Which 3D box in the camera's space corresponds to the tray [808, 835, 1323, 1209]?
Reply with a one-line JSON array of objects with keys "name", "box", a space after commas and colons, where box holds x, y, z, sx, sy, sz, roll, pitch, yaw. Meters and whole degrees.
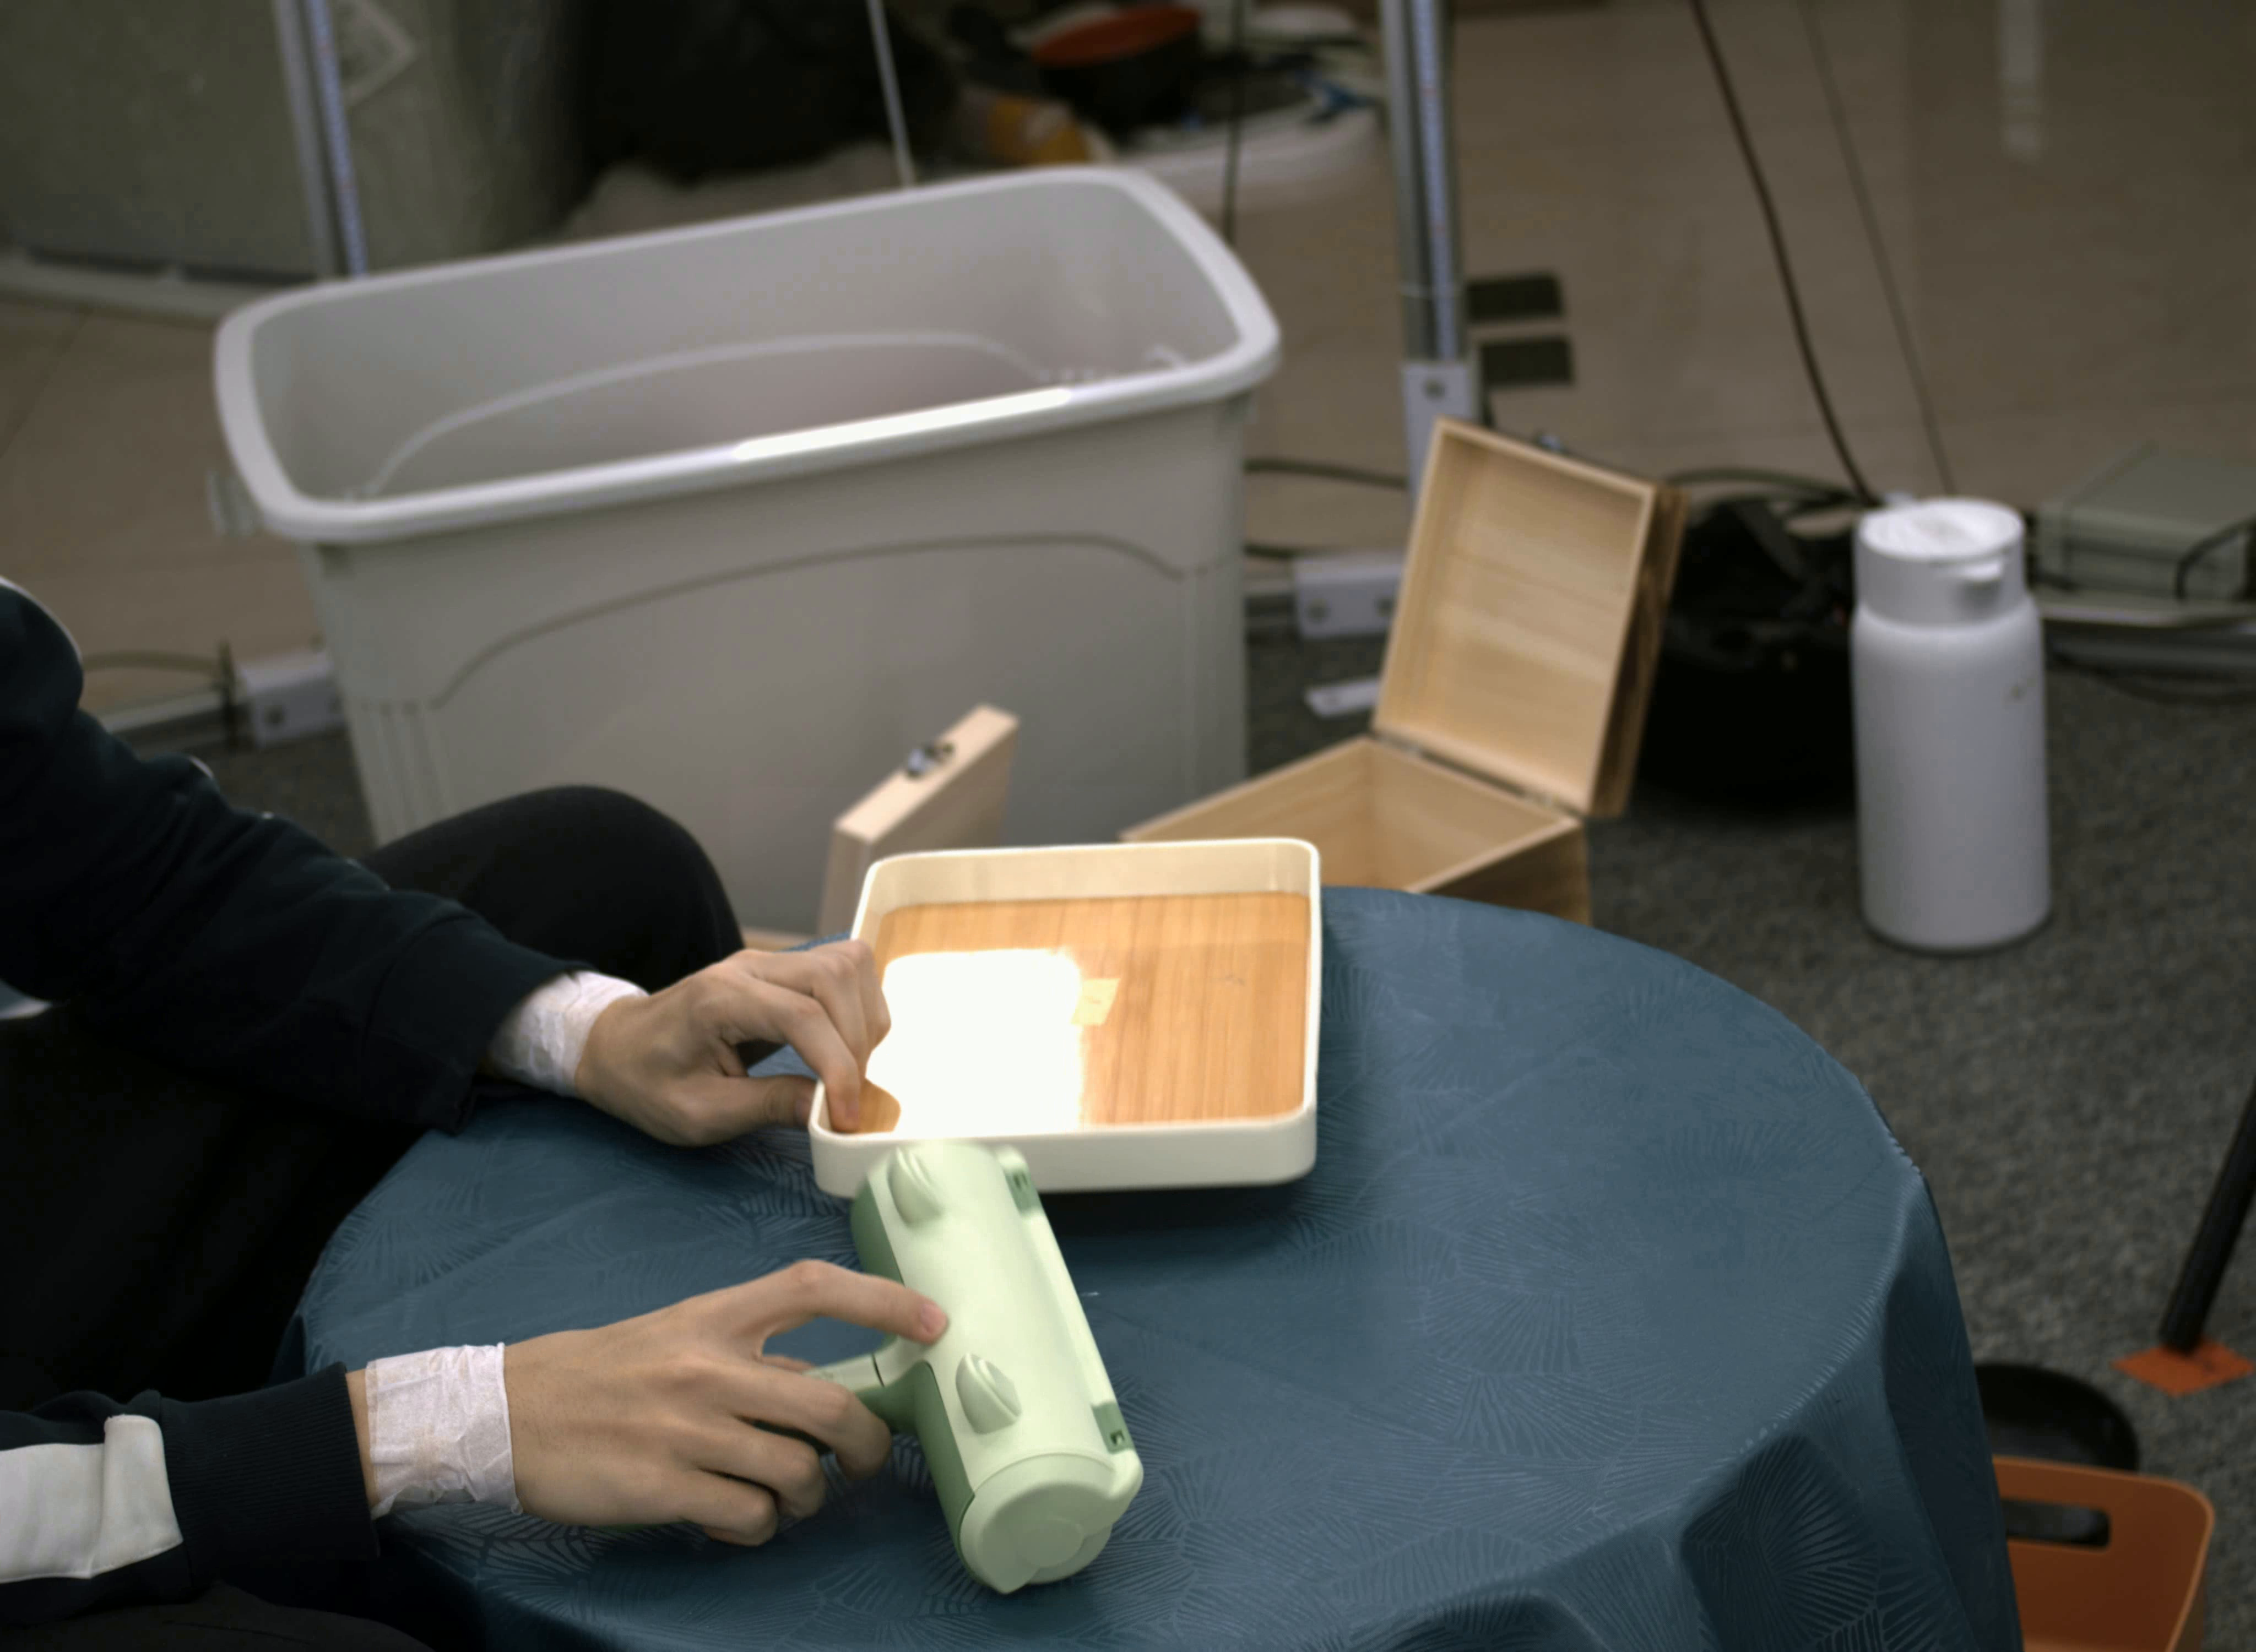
[{"name": "tray", "box": [-0.019, 0.073, 2.227, 0.191, 0.028, 0.296, -3, 21, 4]}]

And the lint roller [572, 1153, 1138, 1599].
[{"name": "lint roller", "box": [-0.104, 0.190, 1.948, 0.183, 0.084, 0.195, -10, 34, -8]}]
